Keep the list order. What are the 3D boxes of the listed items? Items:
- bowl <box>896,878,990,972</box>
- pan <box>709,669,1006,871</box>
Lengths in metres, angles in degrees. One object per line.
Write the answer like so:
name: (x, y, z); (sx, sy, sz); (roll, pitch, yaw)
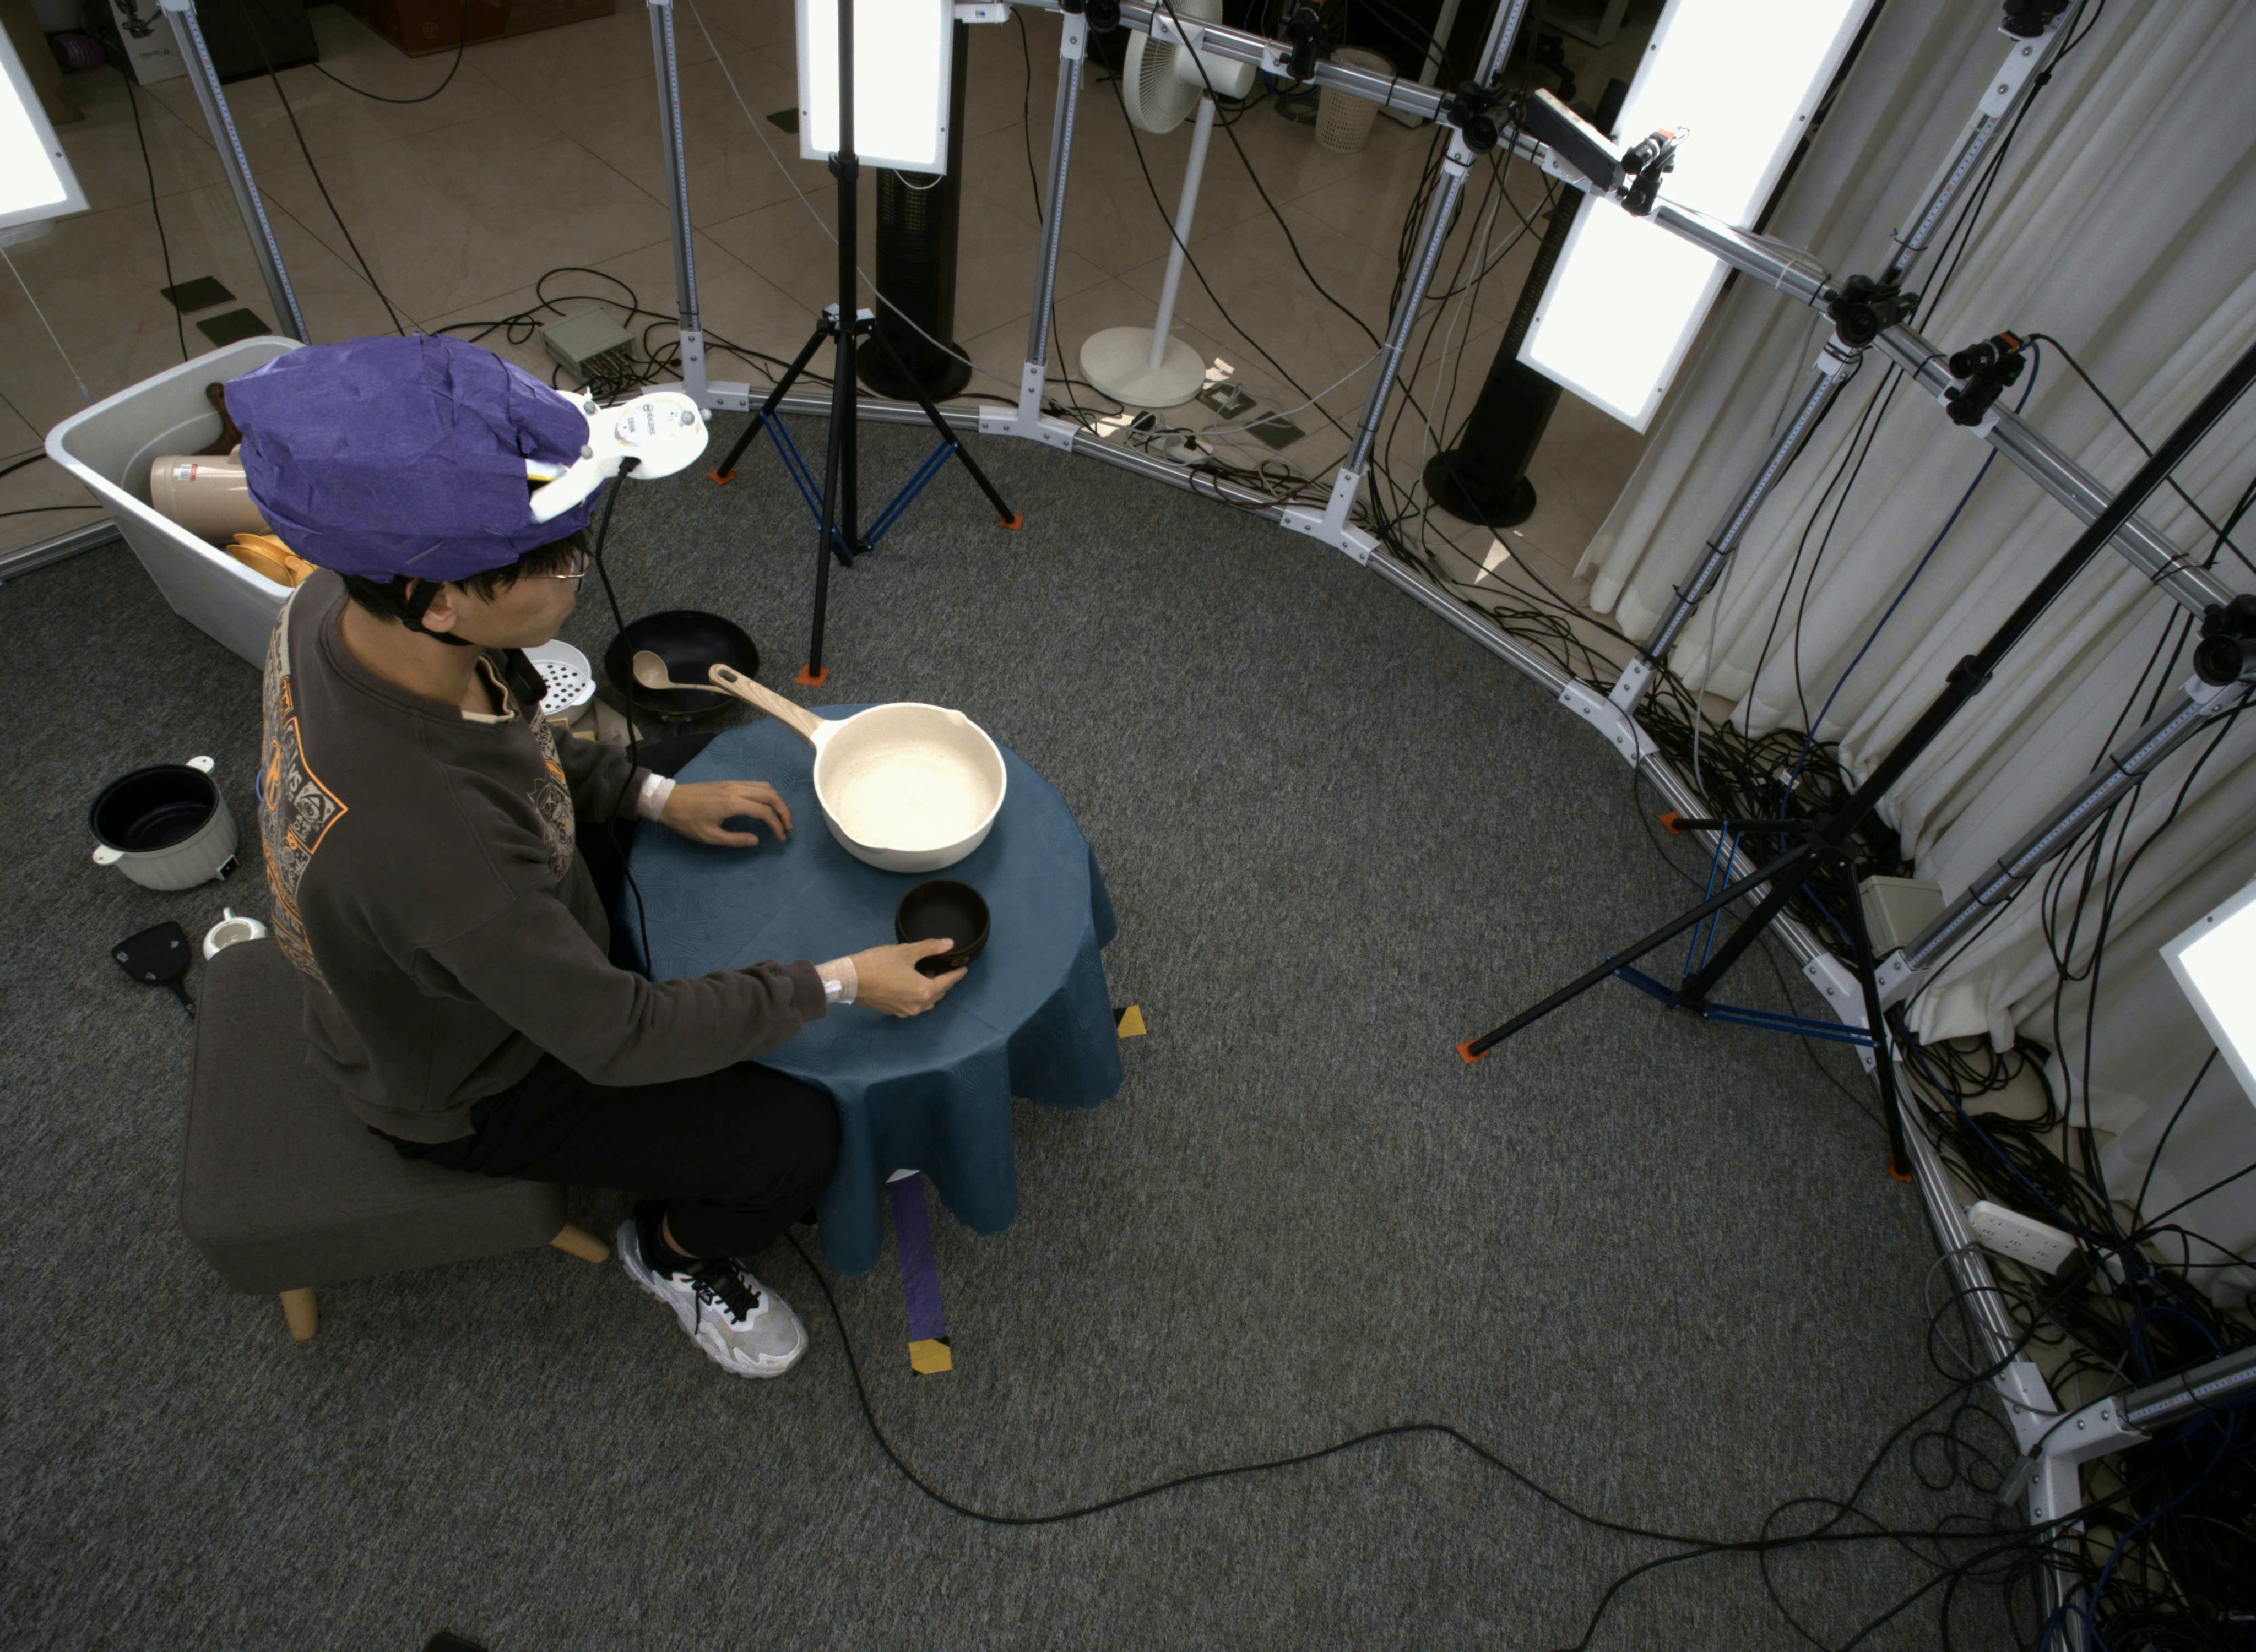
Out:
bowl: (-0.233, 0.130, 1.643); (0.117, 0.071, 0.116); (6, 54, -7)
pan: (-0.372, -0.091, 1.755); (0.429, 0.104, 0.262); (25, 54, 6)
